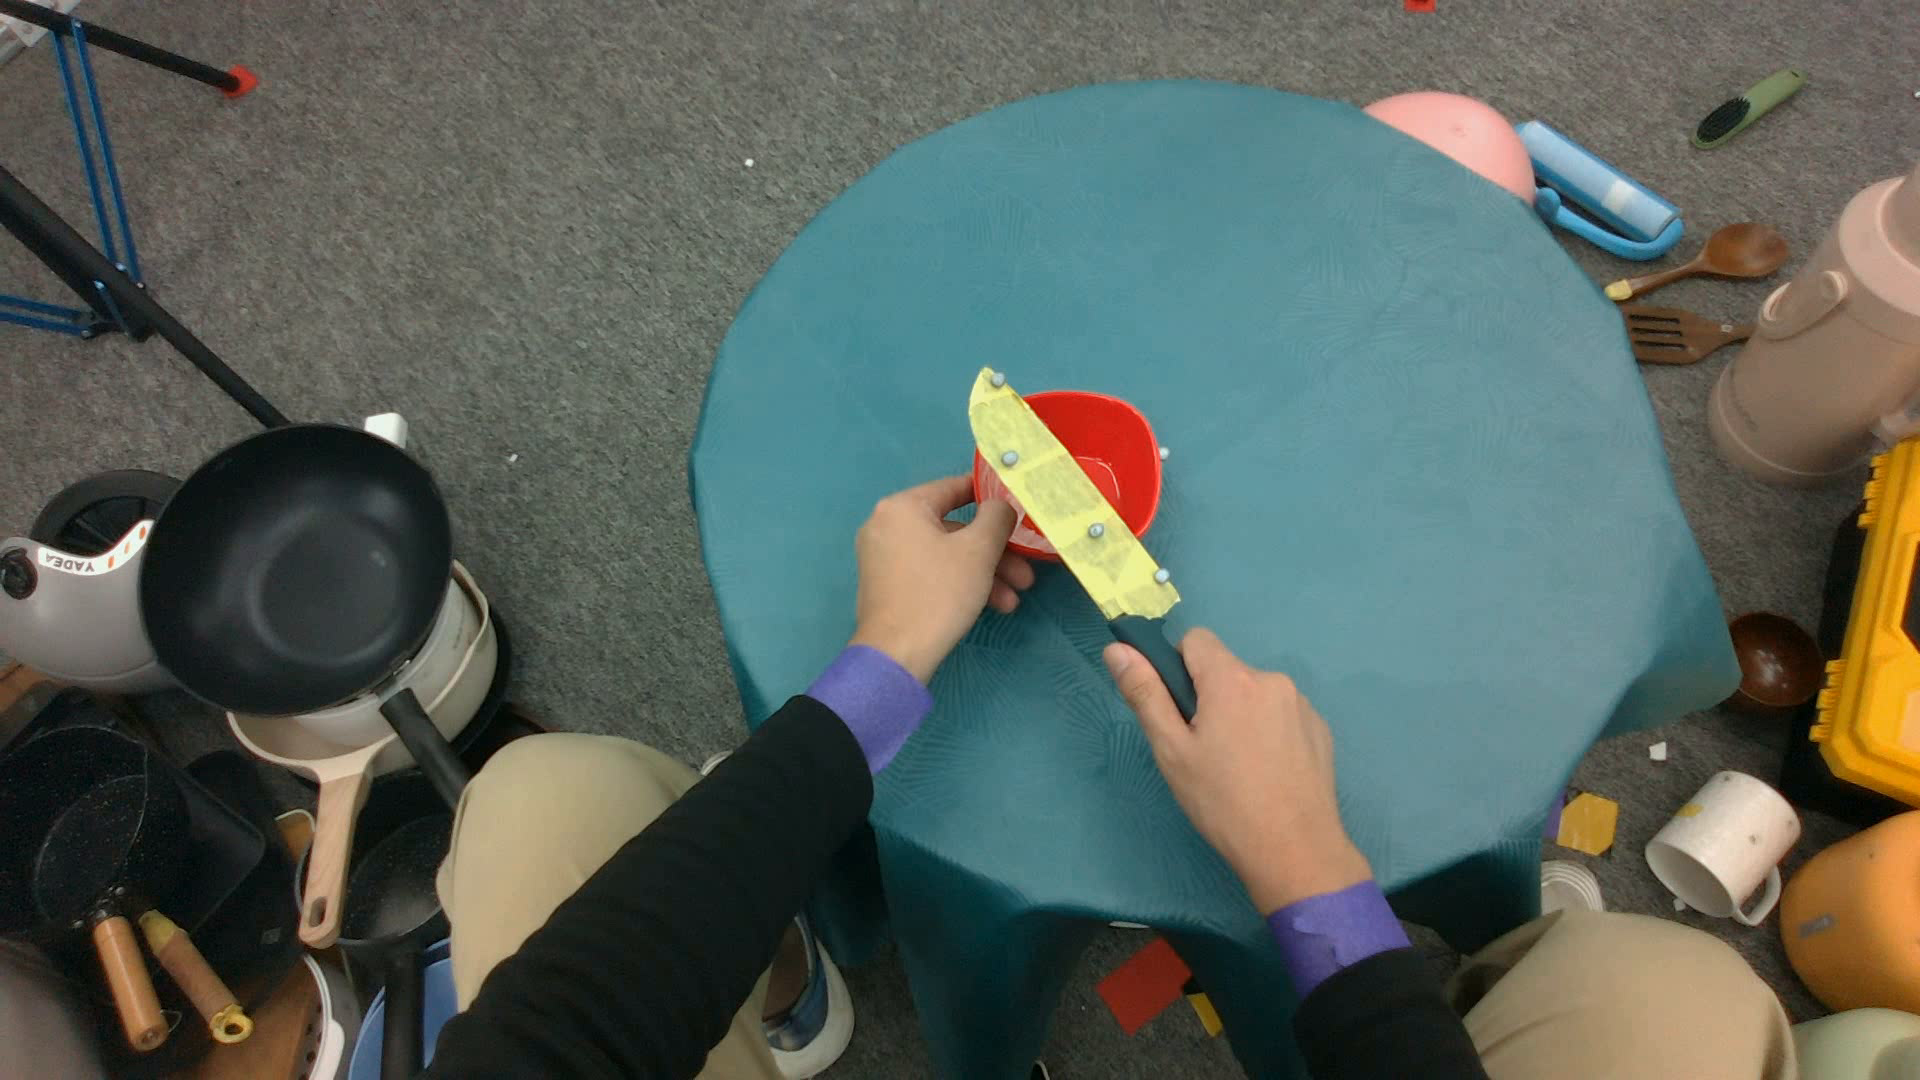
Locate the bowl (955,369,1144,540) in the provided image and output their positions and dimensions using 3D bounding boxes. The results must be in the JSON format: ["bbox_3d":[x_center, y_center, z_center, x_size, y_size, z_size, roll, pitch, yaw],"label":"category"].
[{"bbox_3d":[0.052,-0.043,0.822,0.119,0.051,0.119,0,62,1],"label":"bowl"}]

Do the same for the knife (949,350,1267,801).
[{"bbox_3d":[0.080,0.013,0.747,0.081,0.027,0.289,-25,78,-51],"label":"knife"}]
